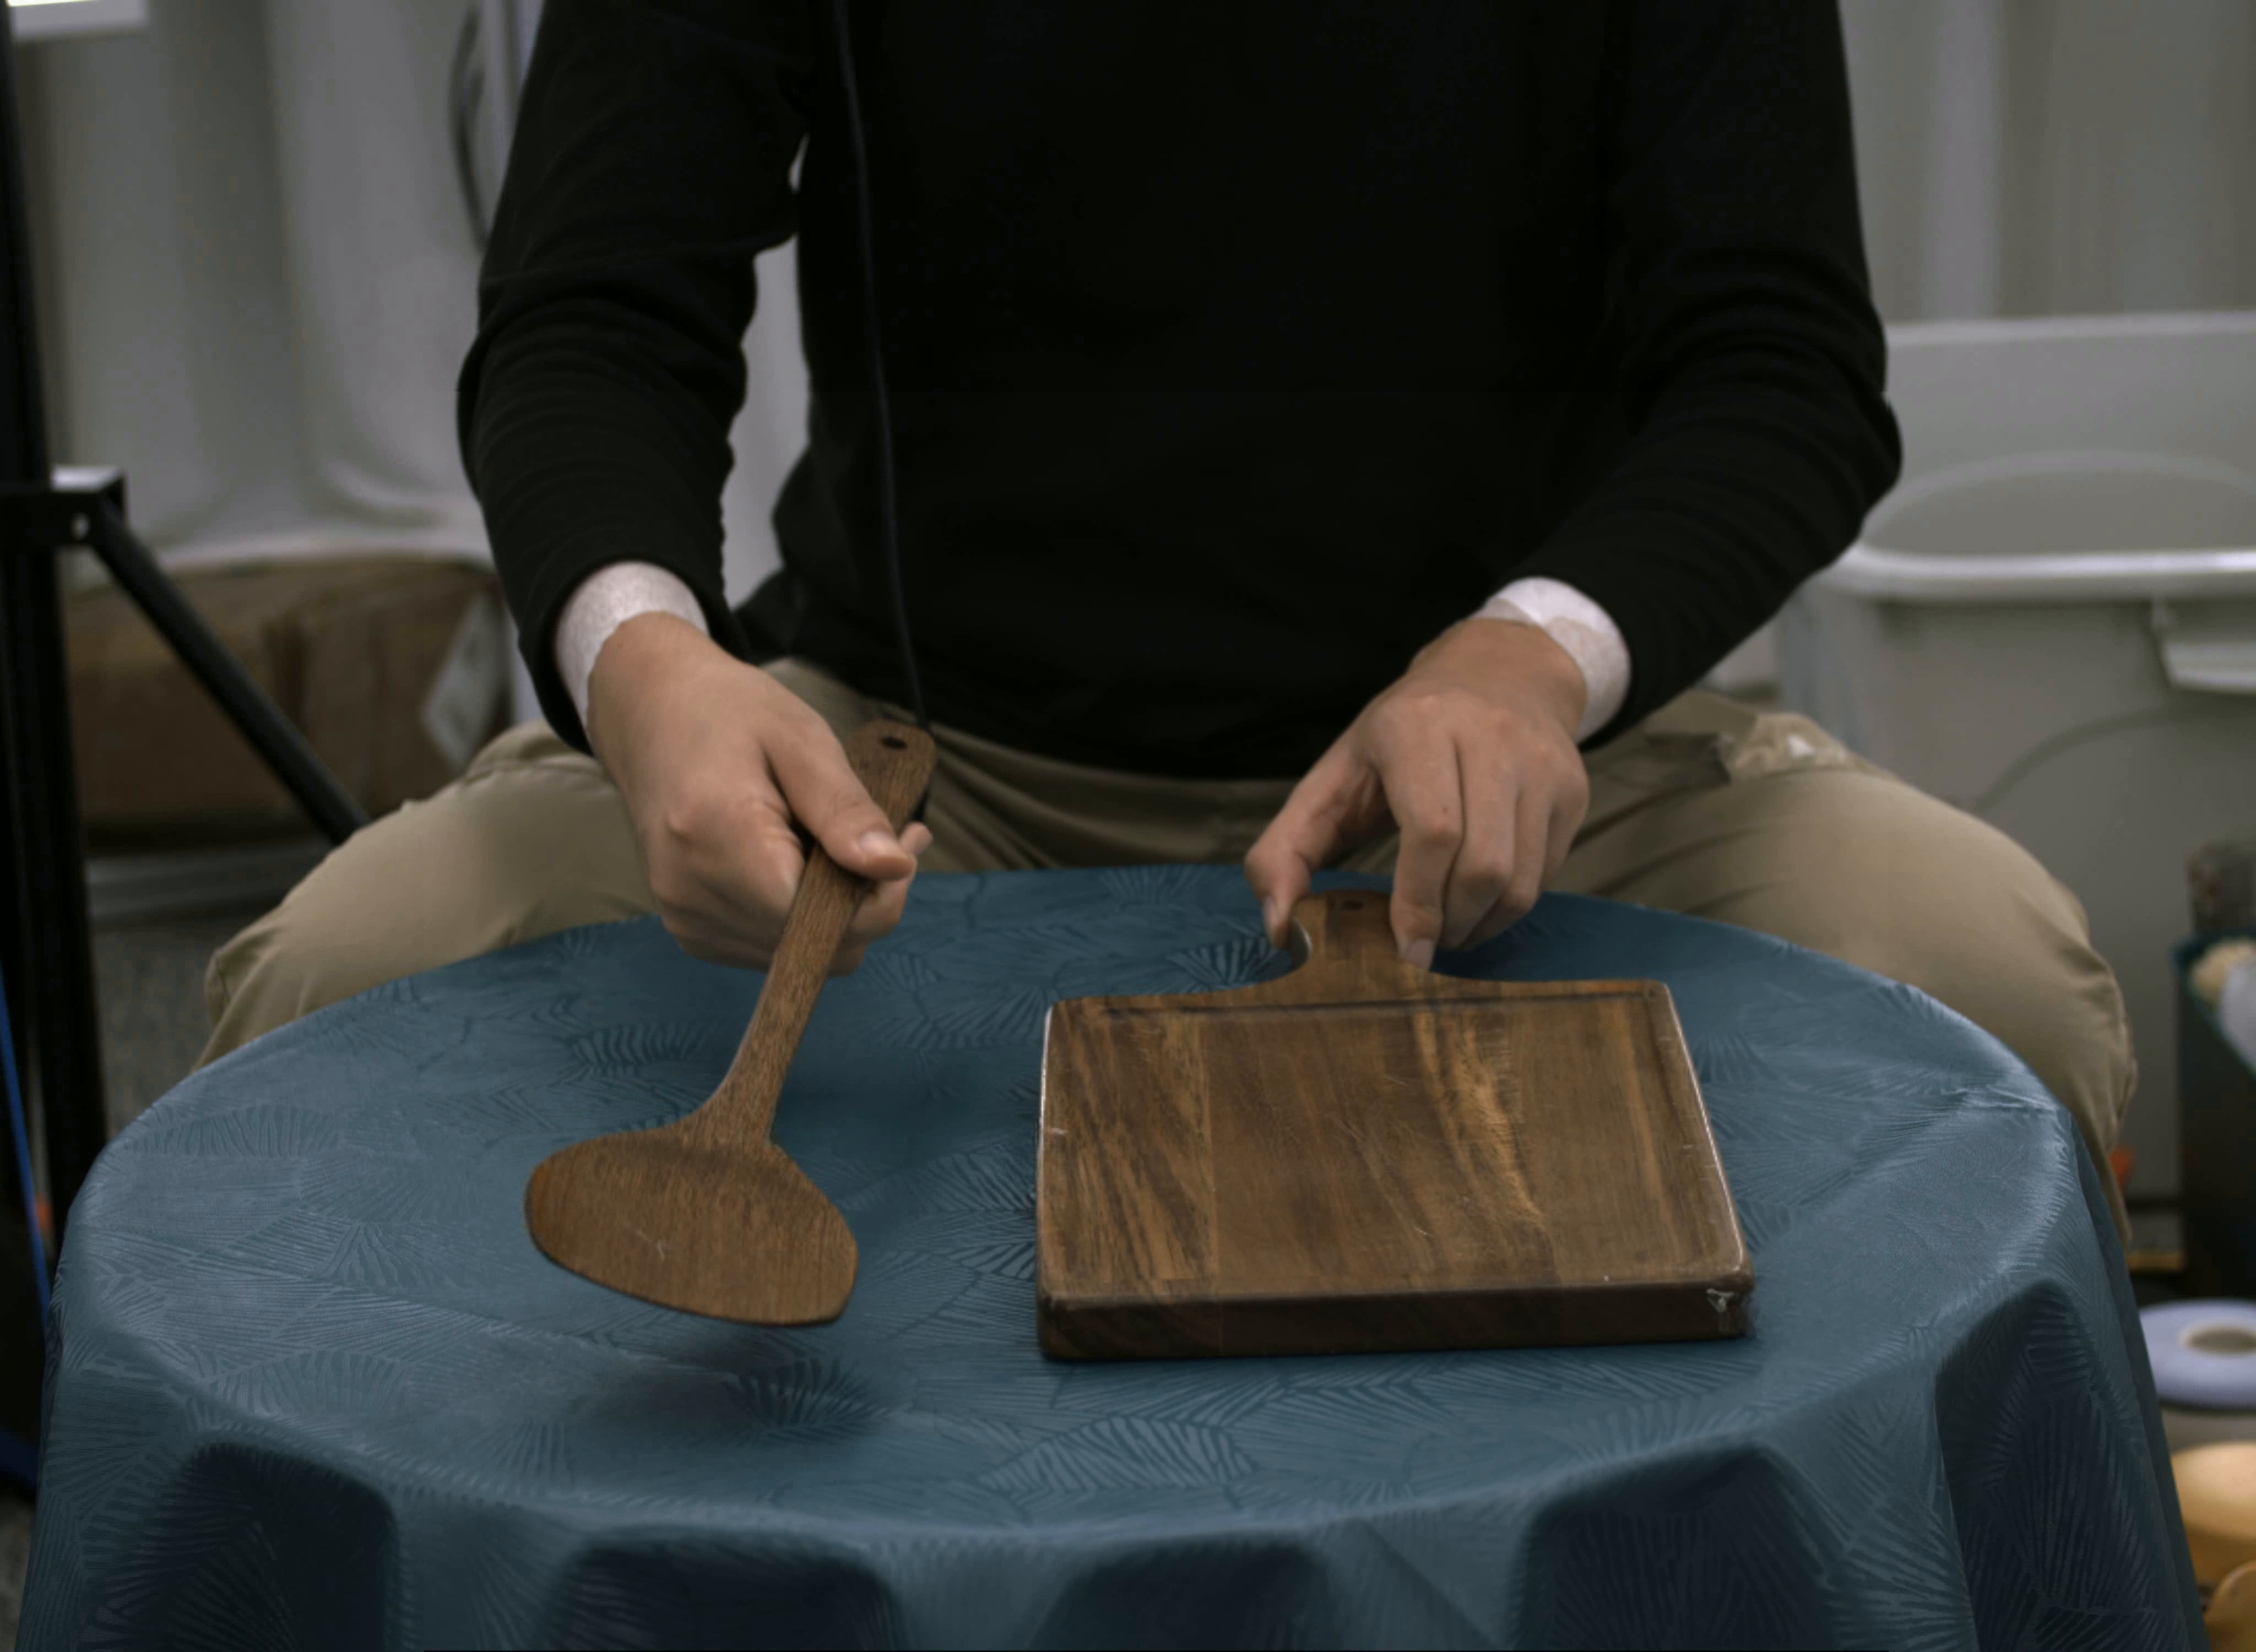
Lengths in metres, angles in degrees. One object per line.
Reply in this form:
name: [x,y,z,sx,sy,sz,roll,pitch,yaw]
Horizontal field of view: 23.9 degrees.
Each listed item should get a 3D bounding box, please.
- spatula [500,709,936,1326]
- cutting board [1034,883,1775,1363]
spatula: [-0.099,0.044,1.552,0.096,0.016,0.386,15,26,1]
cutting board: [0.072,0.081,1.585,0.200,0.023,0.354,-2,17,0]
